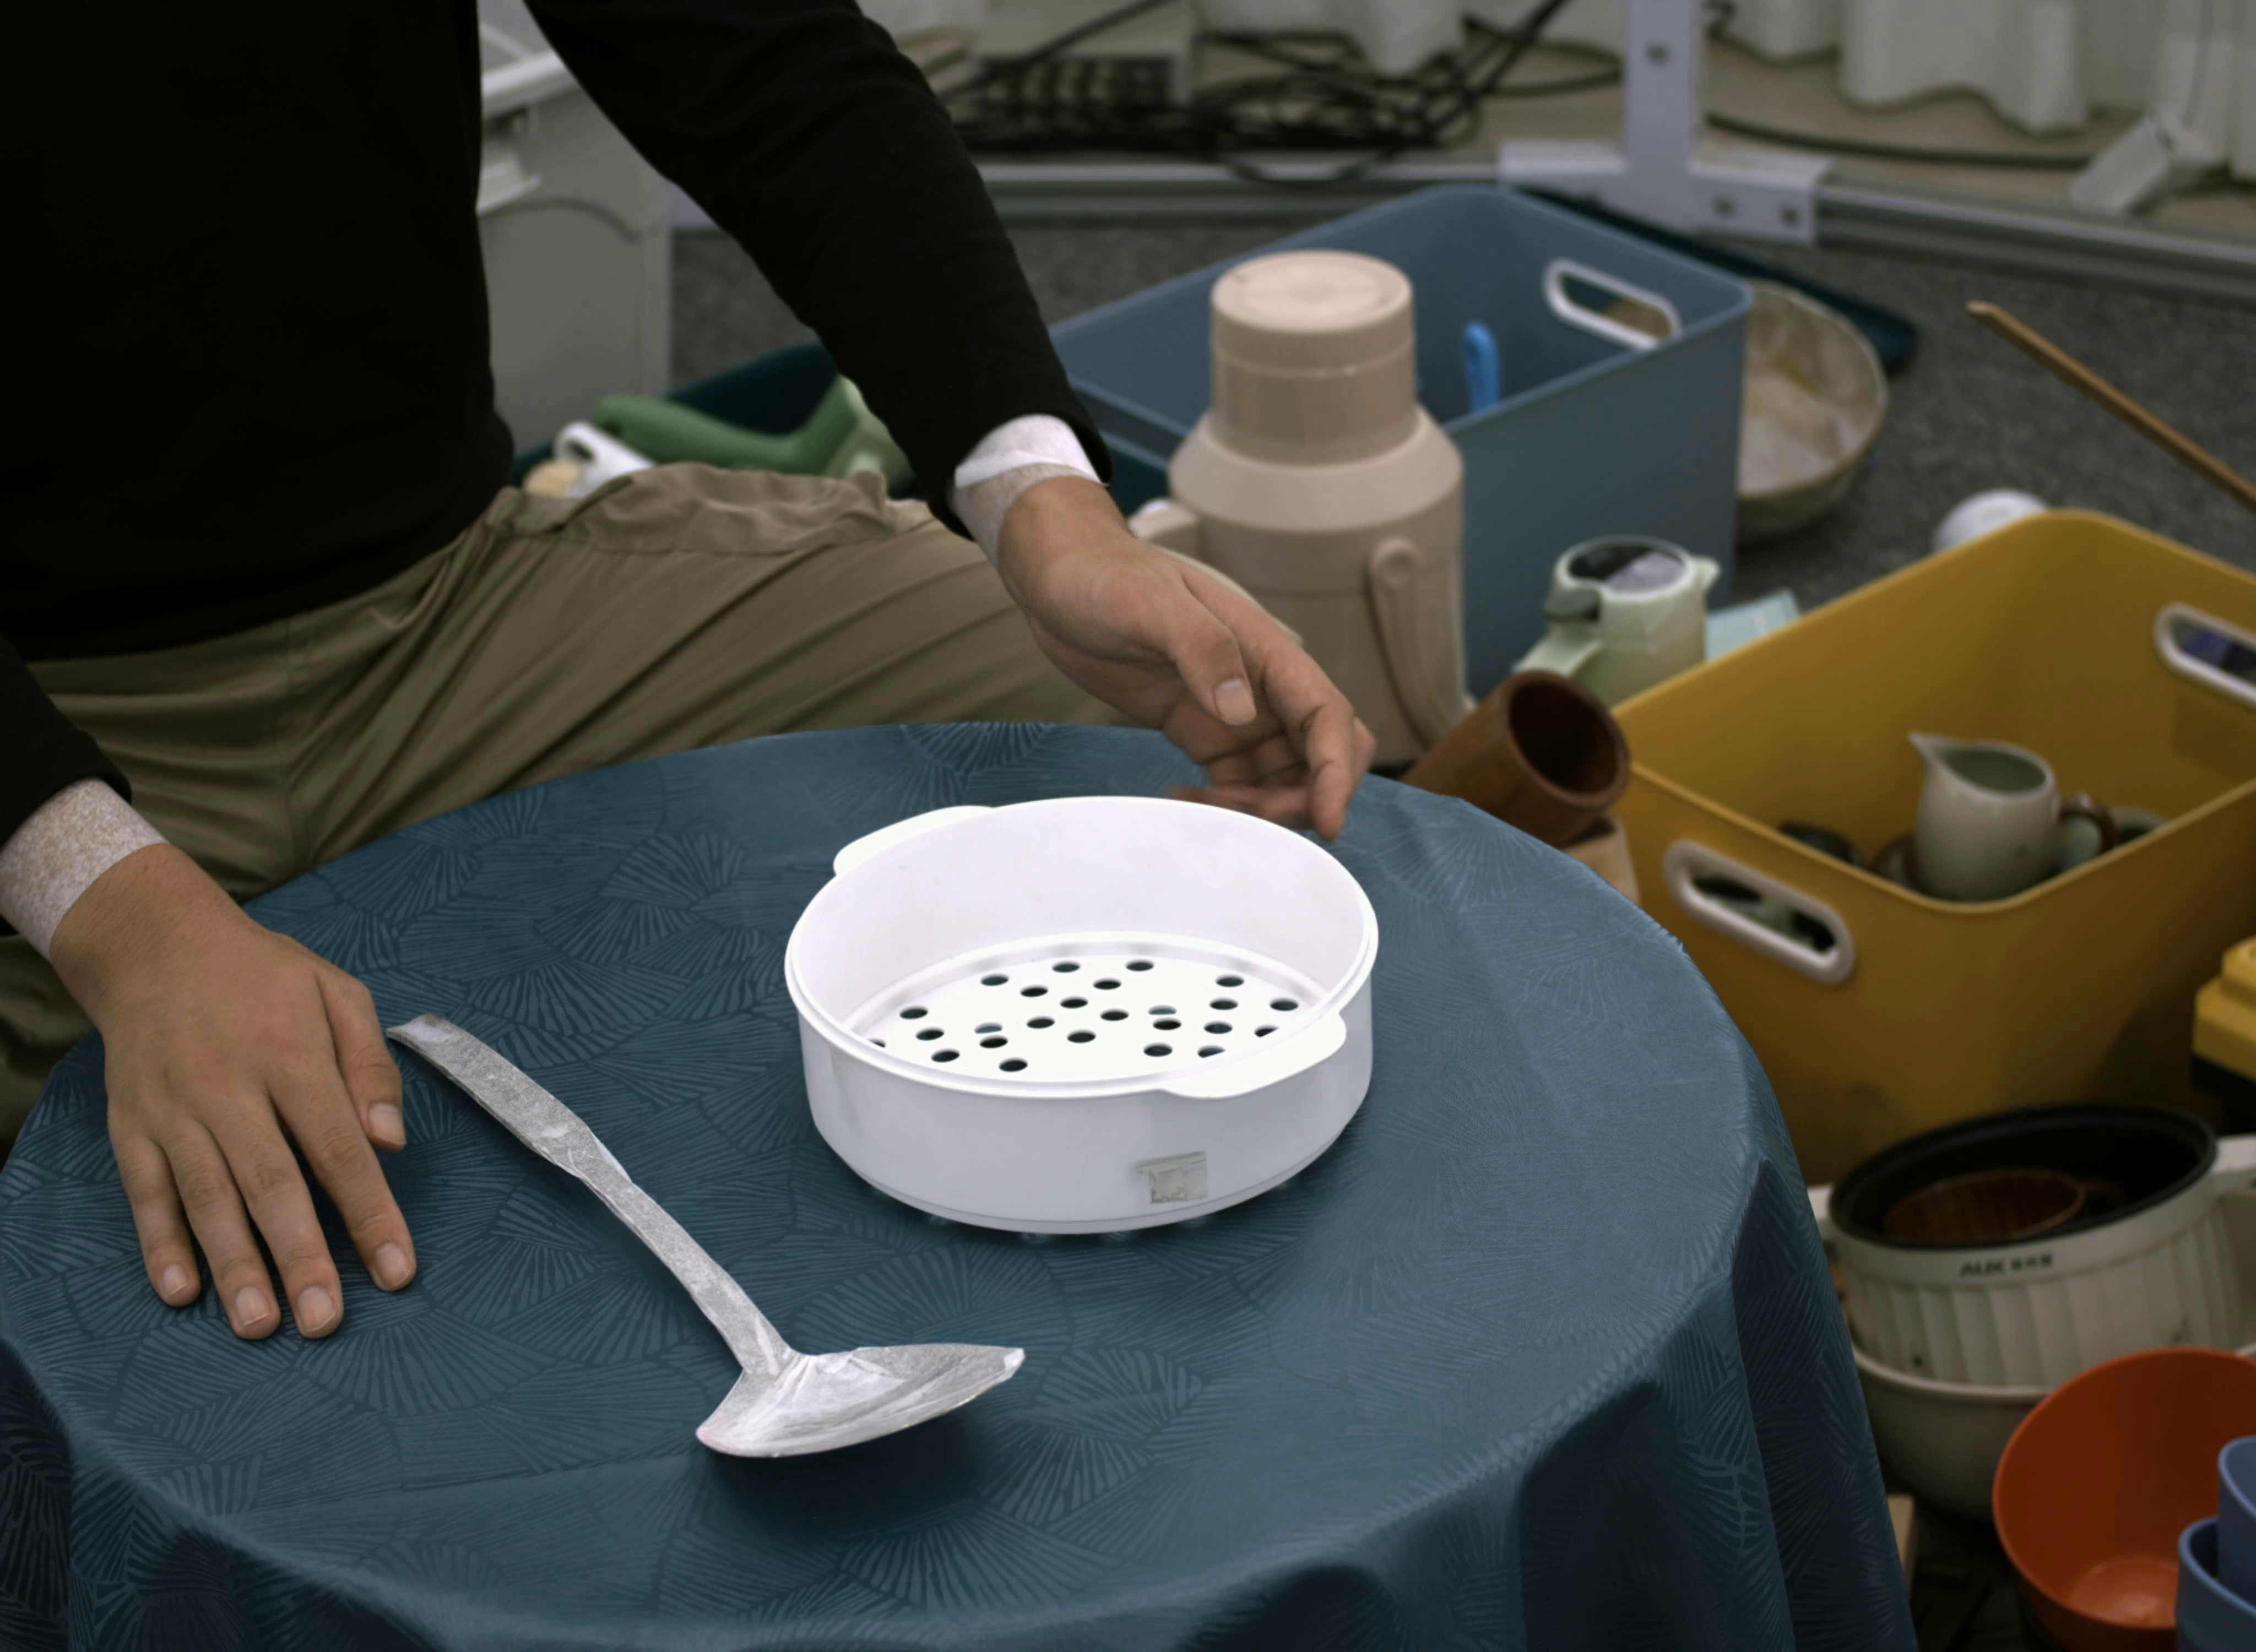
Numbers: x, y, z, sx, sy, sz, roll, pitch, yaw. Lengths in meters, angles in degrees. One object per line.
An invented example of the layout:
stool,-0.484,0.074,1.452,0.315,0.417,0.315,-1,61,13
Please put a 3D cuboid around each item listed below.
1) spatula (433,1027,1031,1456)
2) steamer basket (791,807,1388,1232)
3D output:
spatula,-0.153,0.126,1.827,0.099,0.044,0.366,-19,32,-25
steamer basket,-0.012,0.066,1.895,0.203,0.068,0.231,-19,30,-31
